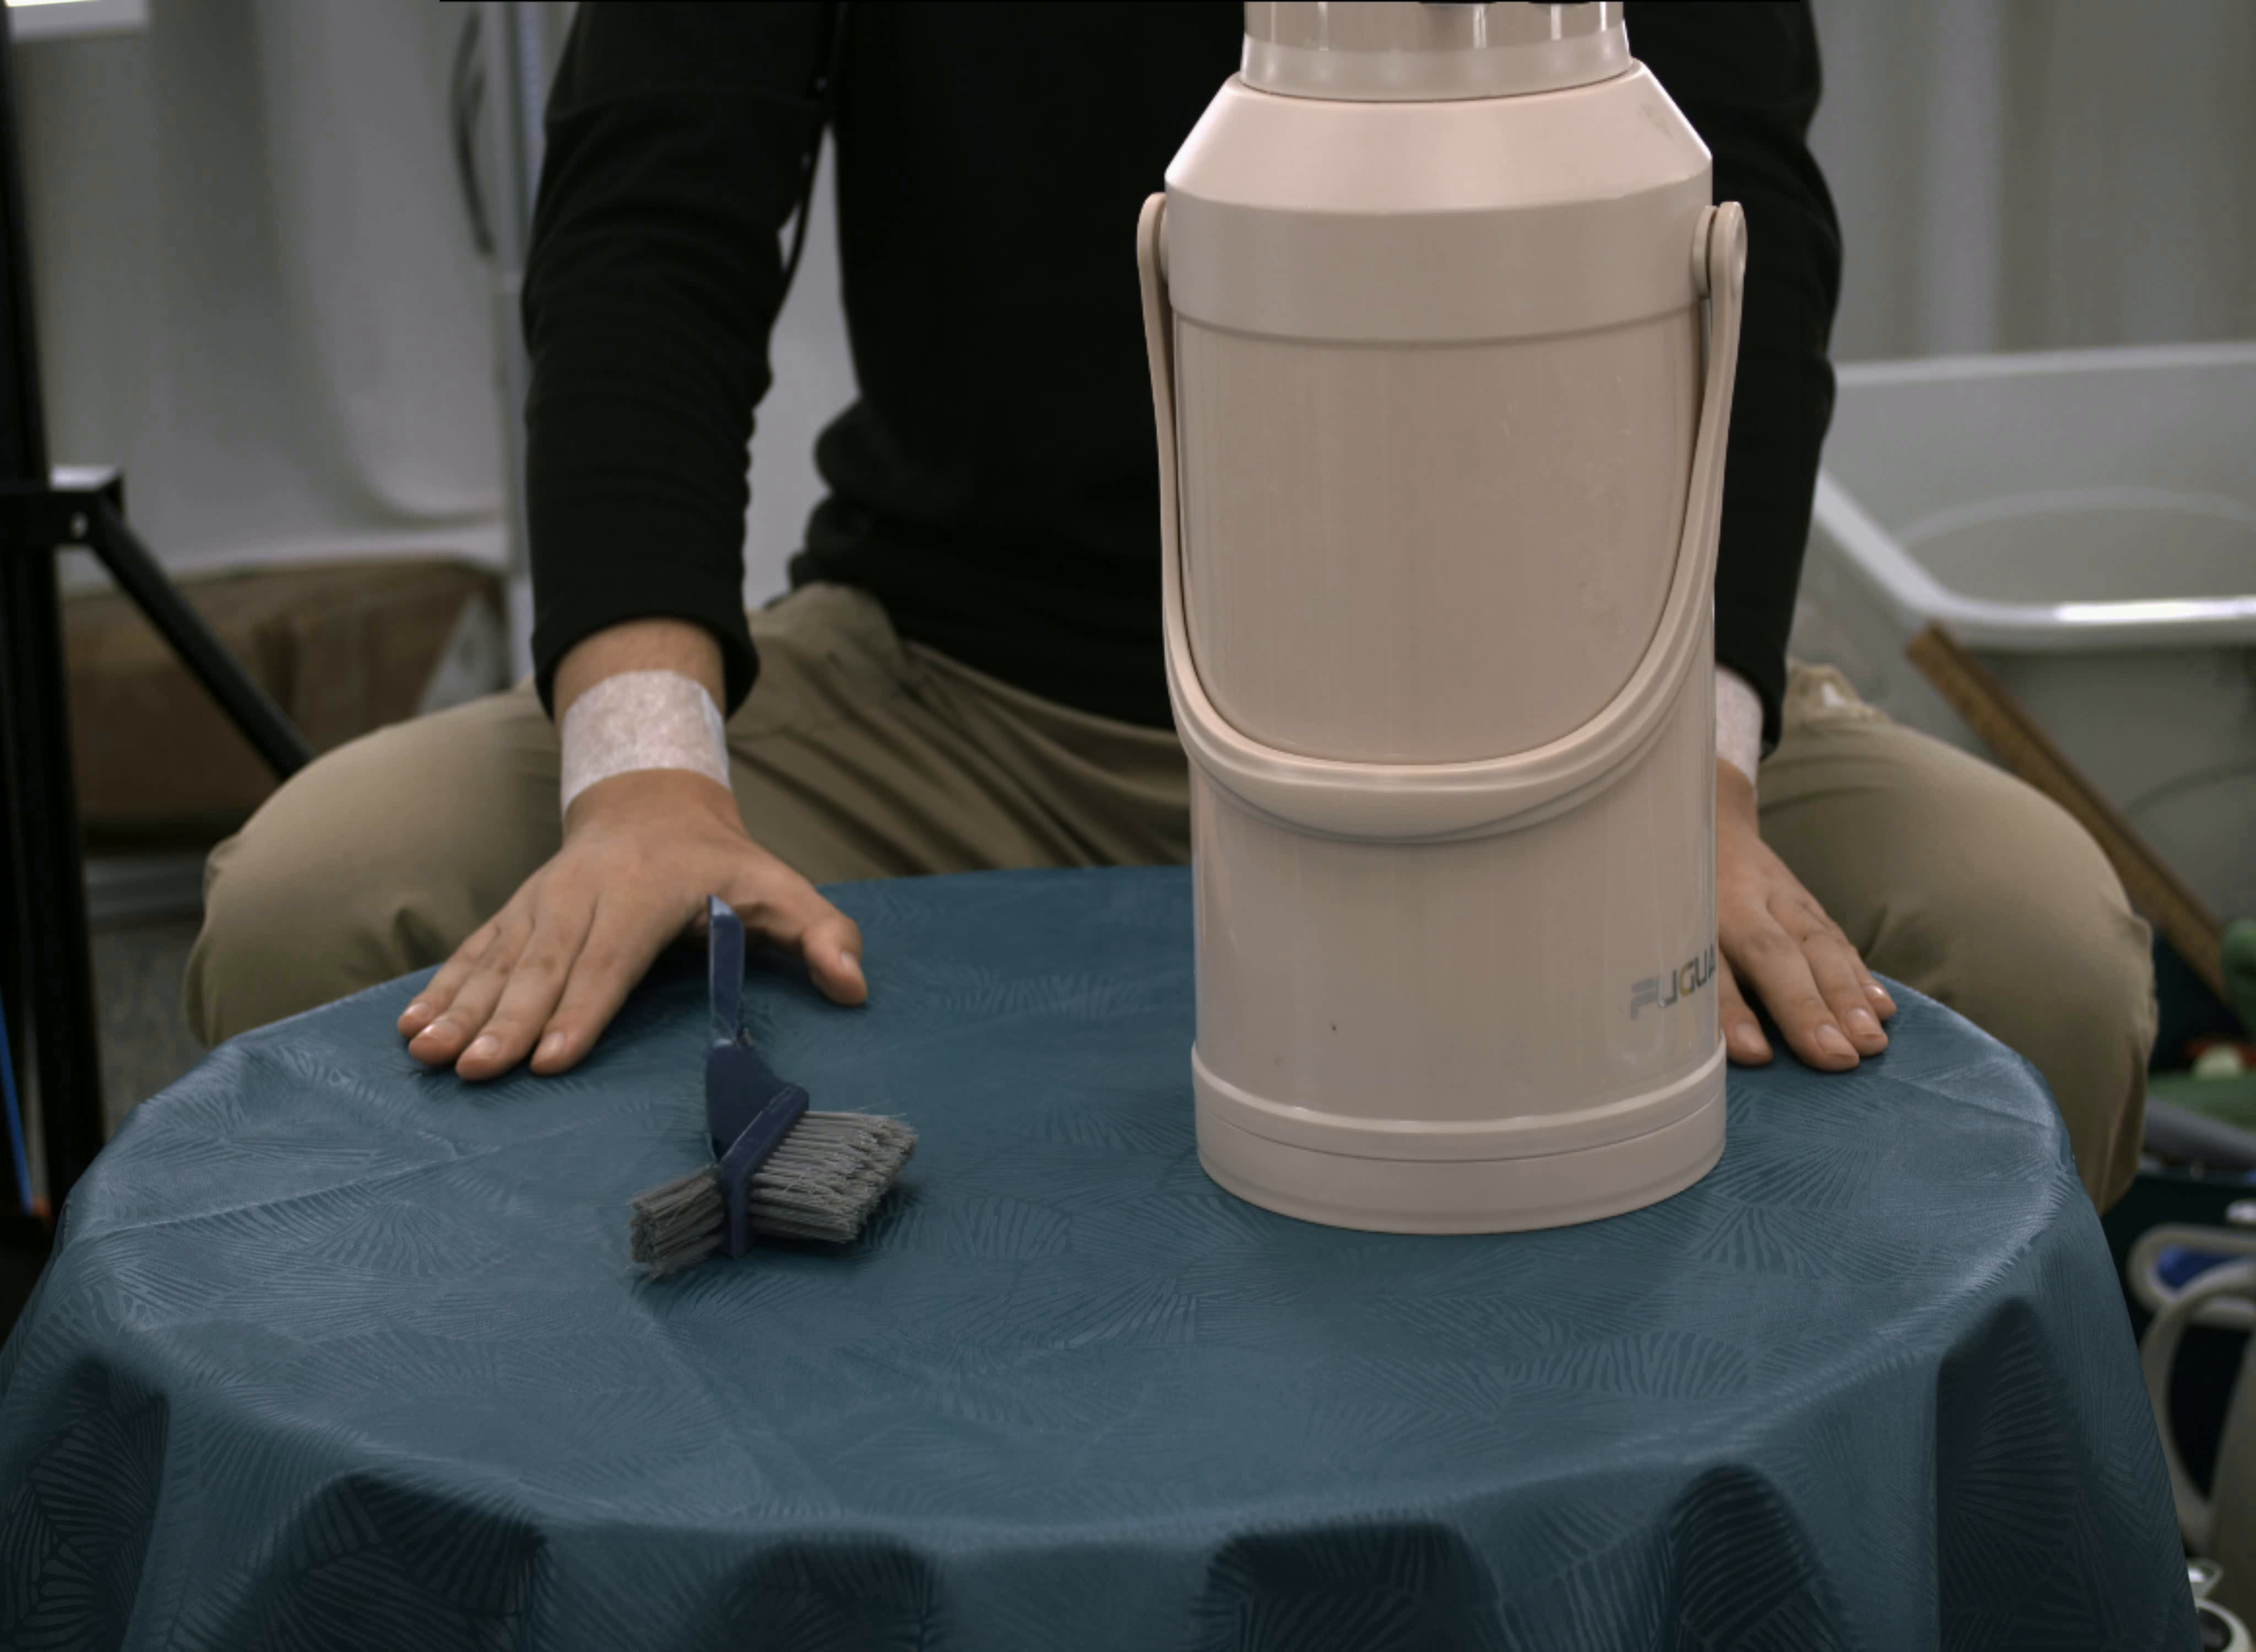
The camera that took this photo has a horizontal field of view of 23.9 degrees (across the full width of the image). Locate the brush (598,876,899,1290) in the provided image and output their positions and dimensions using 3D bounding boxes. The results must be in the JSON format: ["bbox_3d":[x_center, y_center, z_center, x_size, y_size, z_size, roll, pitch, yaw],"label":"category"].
[{"bbox_3d":[-0.129,0.075,1.635,0.094,0.033,0.277,-5,18,-10],"label":"brush"}]

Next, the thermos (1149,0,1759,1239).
[{"bbox_3d":[0.100,-0.098,1.544,0.177,0.406,0.205,2,15,19],"label":"thermos"}]
